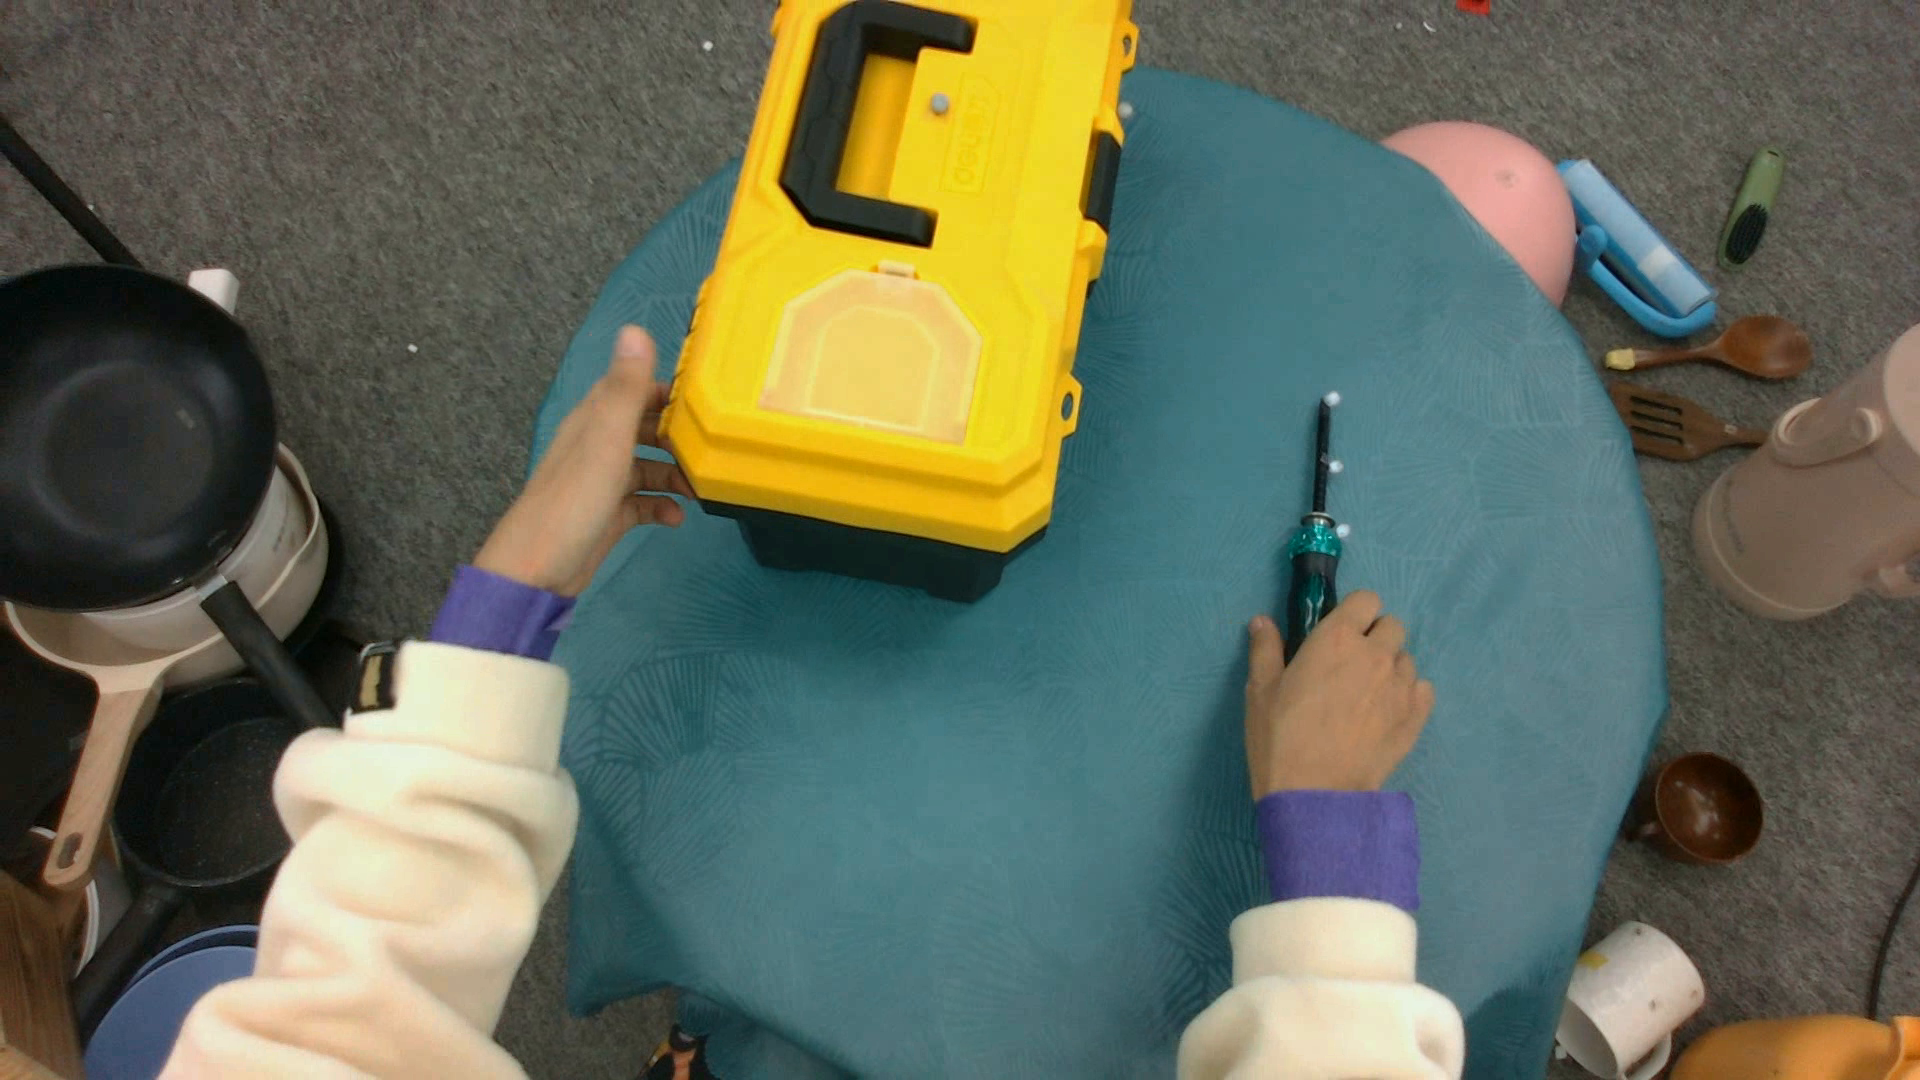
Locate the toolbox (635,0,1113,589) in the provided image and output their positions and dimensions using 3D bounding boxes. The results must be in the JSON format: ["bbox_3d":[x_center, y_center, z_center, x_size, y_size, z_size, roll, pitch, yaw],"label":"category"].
[{"bbox_3d":[-0.032,-0.158,0.684,0.181,0.172,0.353,10,67,0],"label":"toolbox"}]

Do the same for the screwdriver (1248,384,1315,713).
[{"bbox_3d":[0.170,-0.001,0.714,0.034,0.033,0.191,10,62,0],"label":"screwdriver"}]
